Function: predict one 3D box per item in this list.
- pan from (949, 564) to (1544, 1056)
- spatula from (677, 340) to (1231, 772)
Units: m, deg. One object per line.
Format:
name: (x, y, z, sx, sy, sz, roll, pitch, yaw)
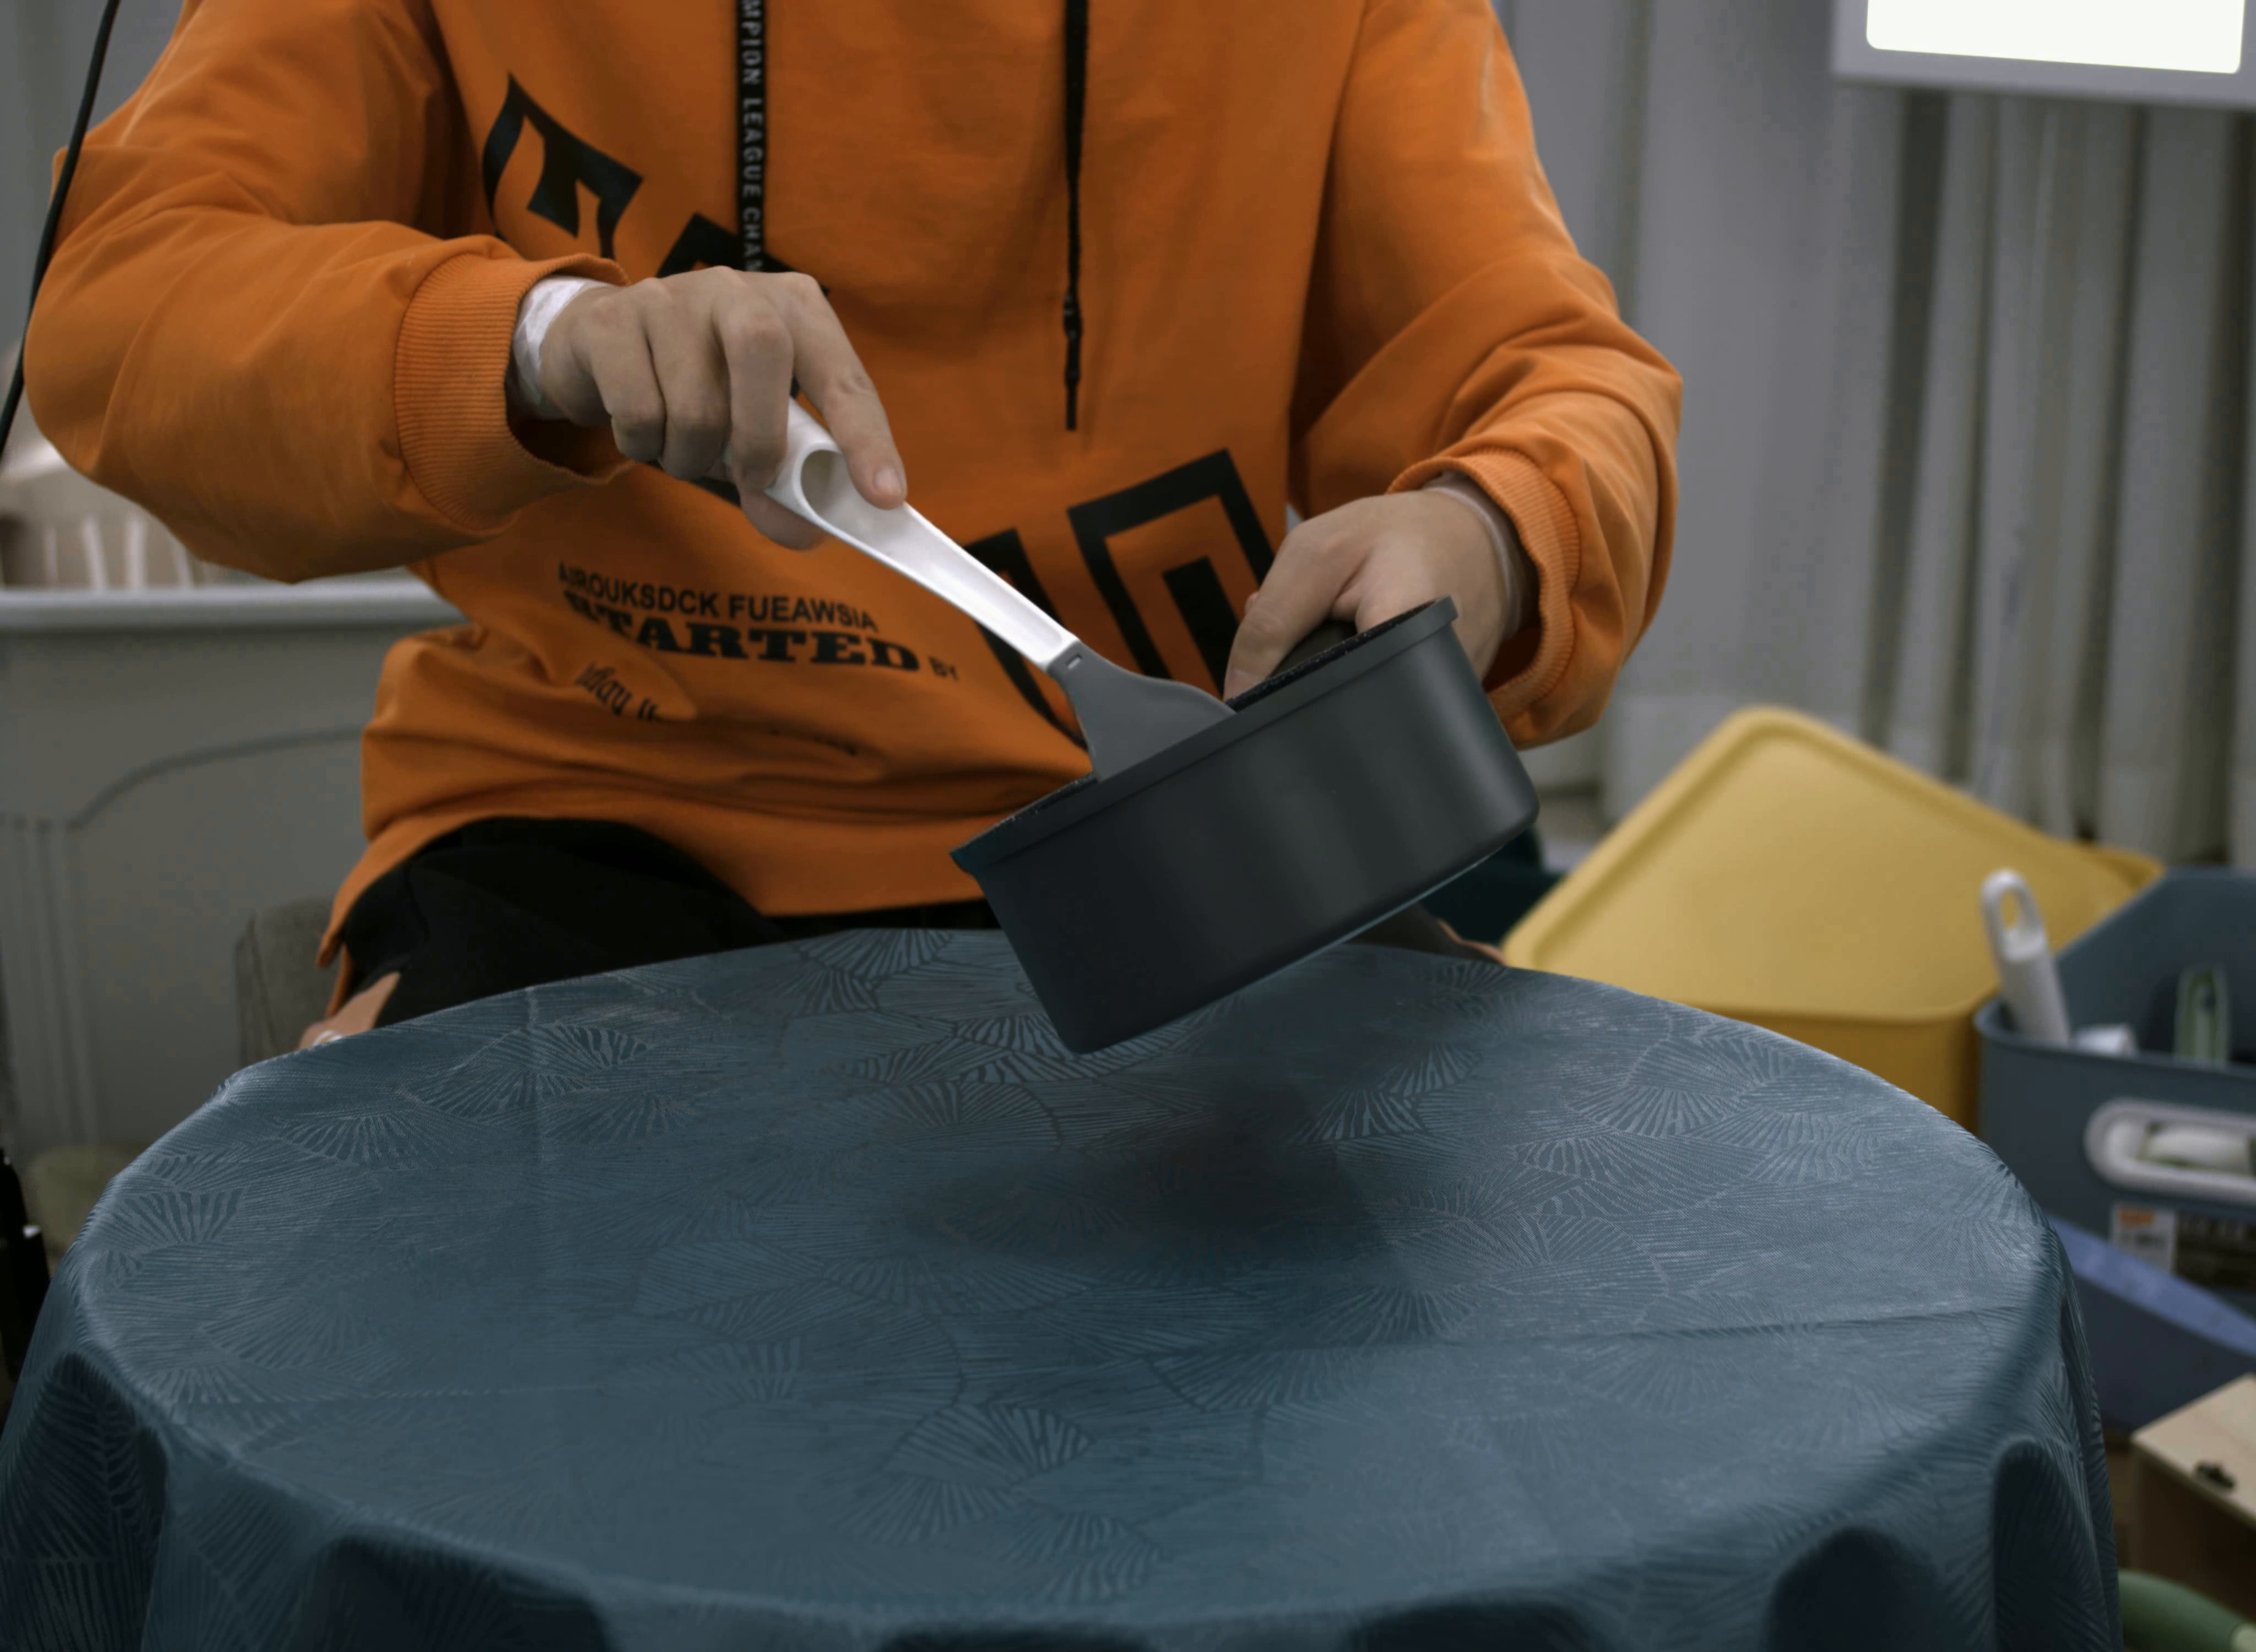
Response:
pan: (0.057, -0.016, 1.668, 0.171, 0.087, 0.329, -26, 4, 18)
spatula: (-0.041, -0.067, 1.664, 0.058, 0.032, 0.284, -39, 60, -20)
